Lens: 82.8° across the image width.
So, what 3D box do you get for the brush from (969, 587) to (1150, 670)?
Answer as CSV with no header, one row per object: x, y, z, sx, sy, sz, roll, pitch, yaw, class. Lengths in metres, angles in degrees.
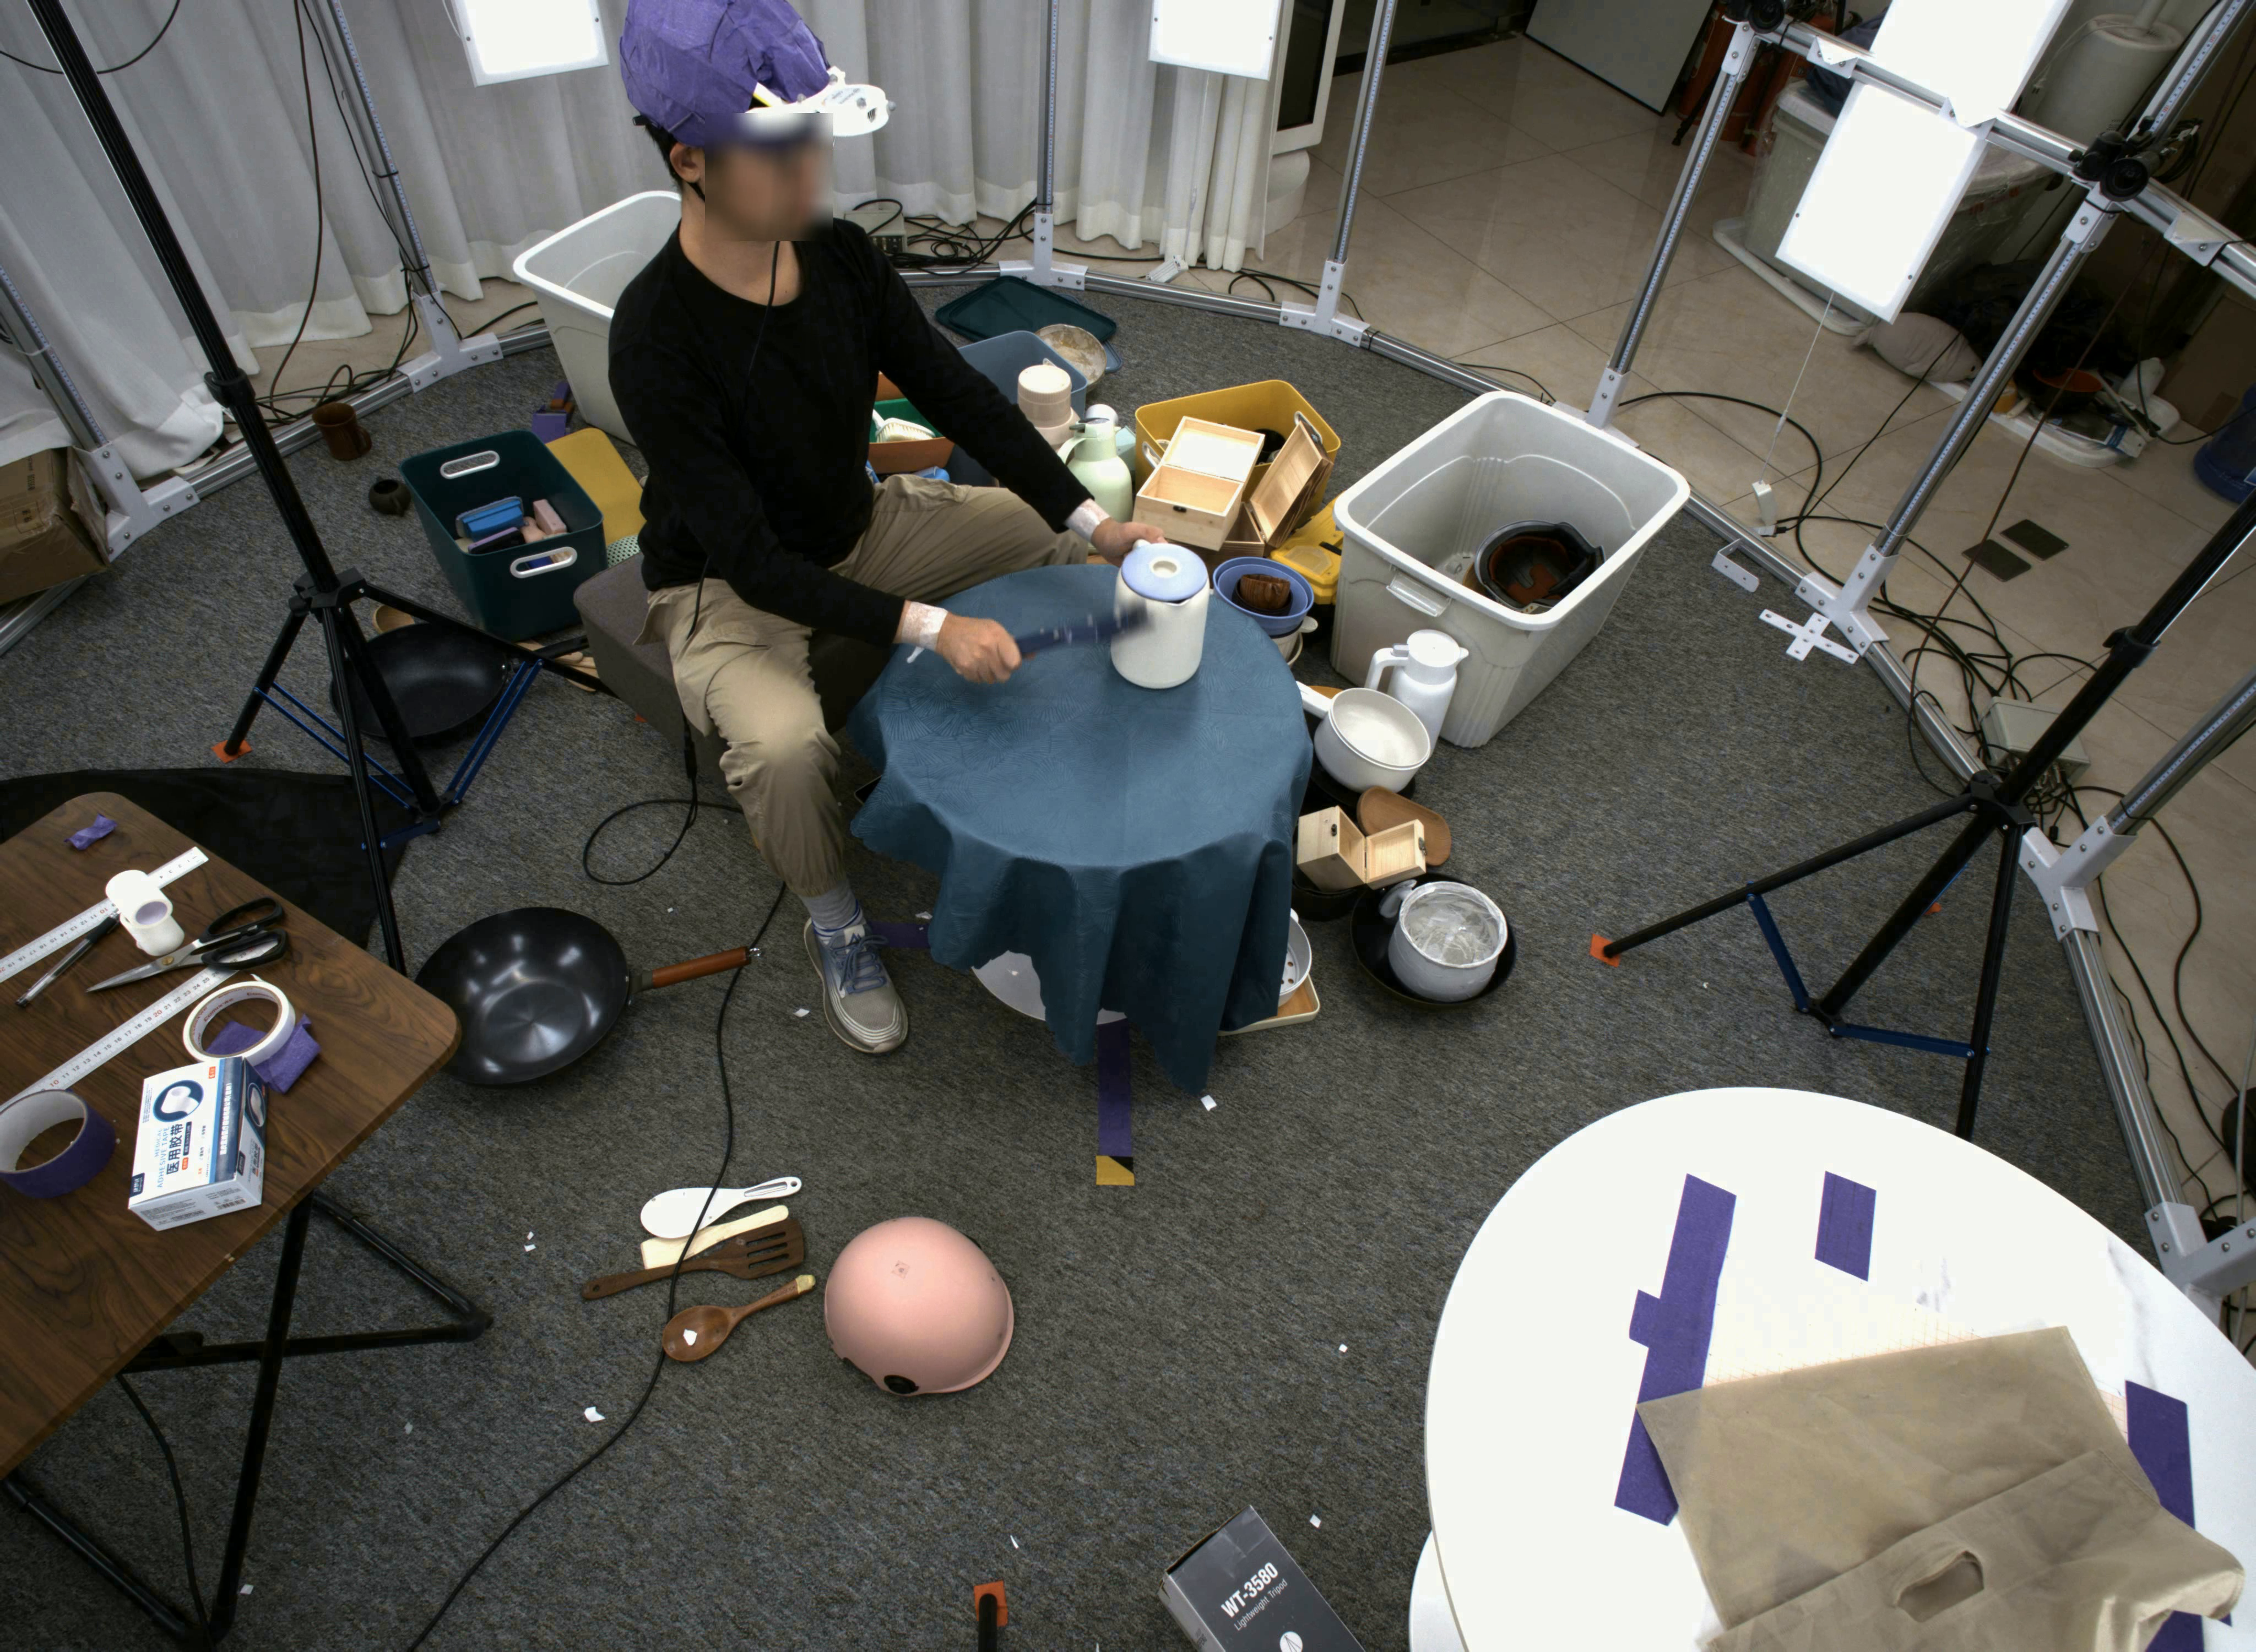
-0.102,-0.266,1.722,0.273,0.095,0.034,-14,82,17,brush

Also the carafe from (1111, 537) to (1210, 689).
0.037,-0.316,1.835,0.132,0.178,0.196,-12,50,-14,carafe
